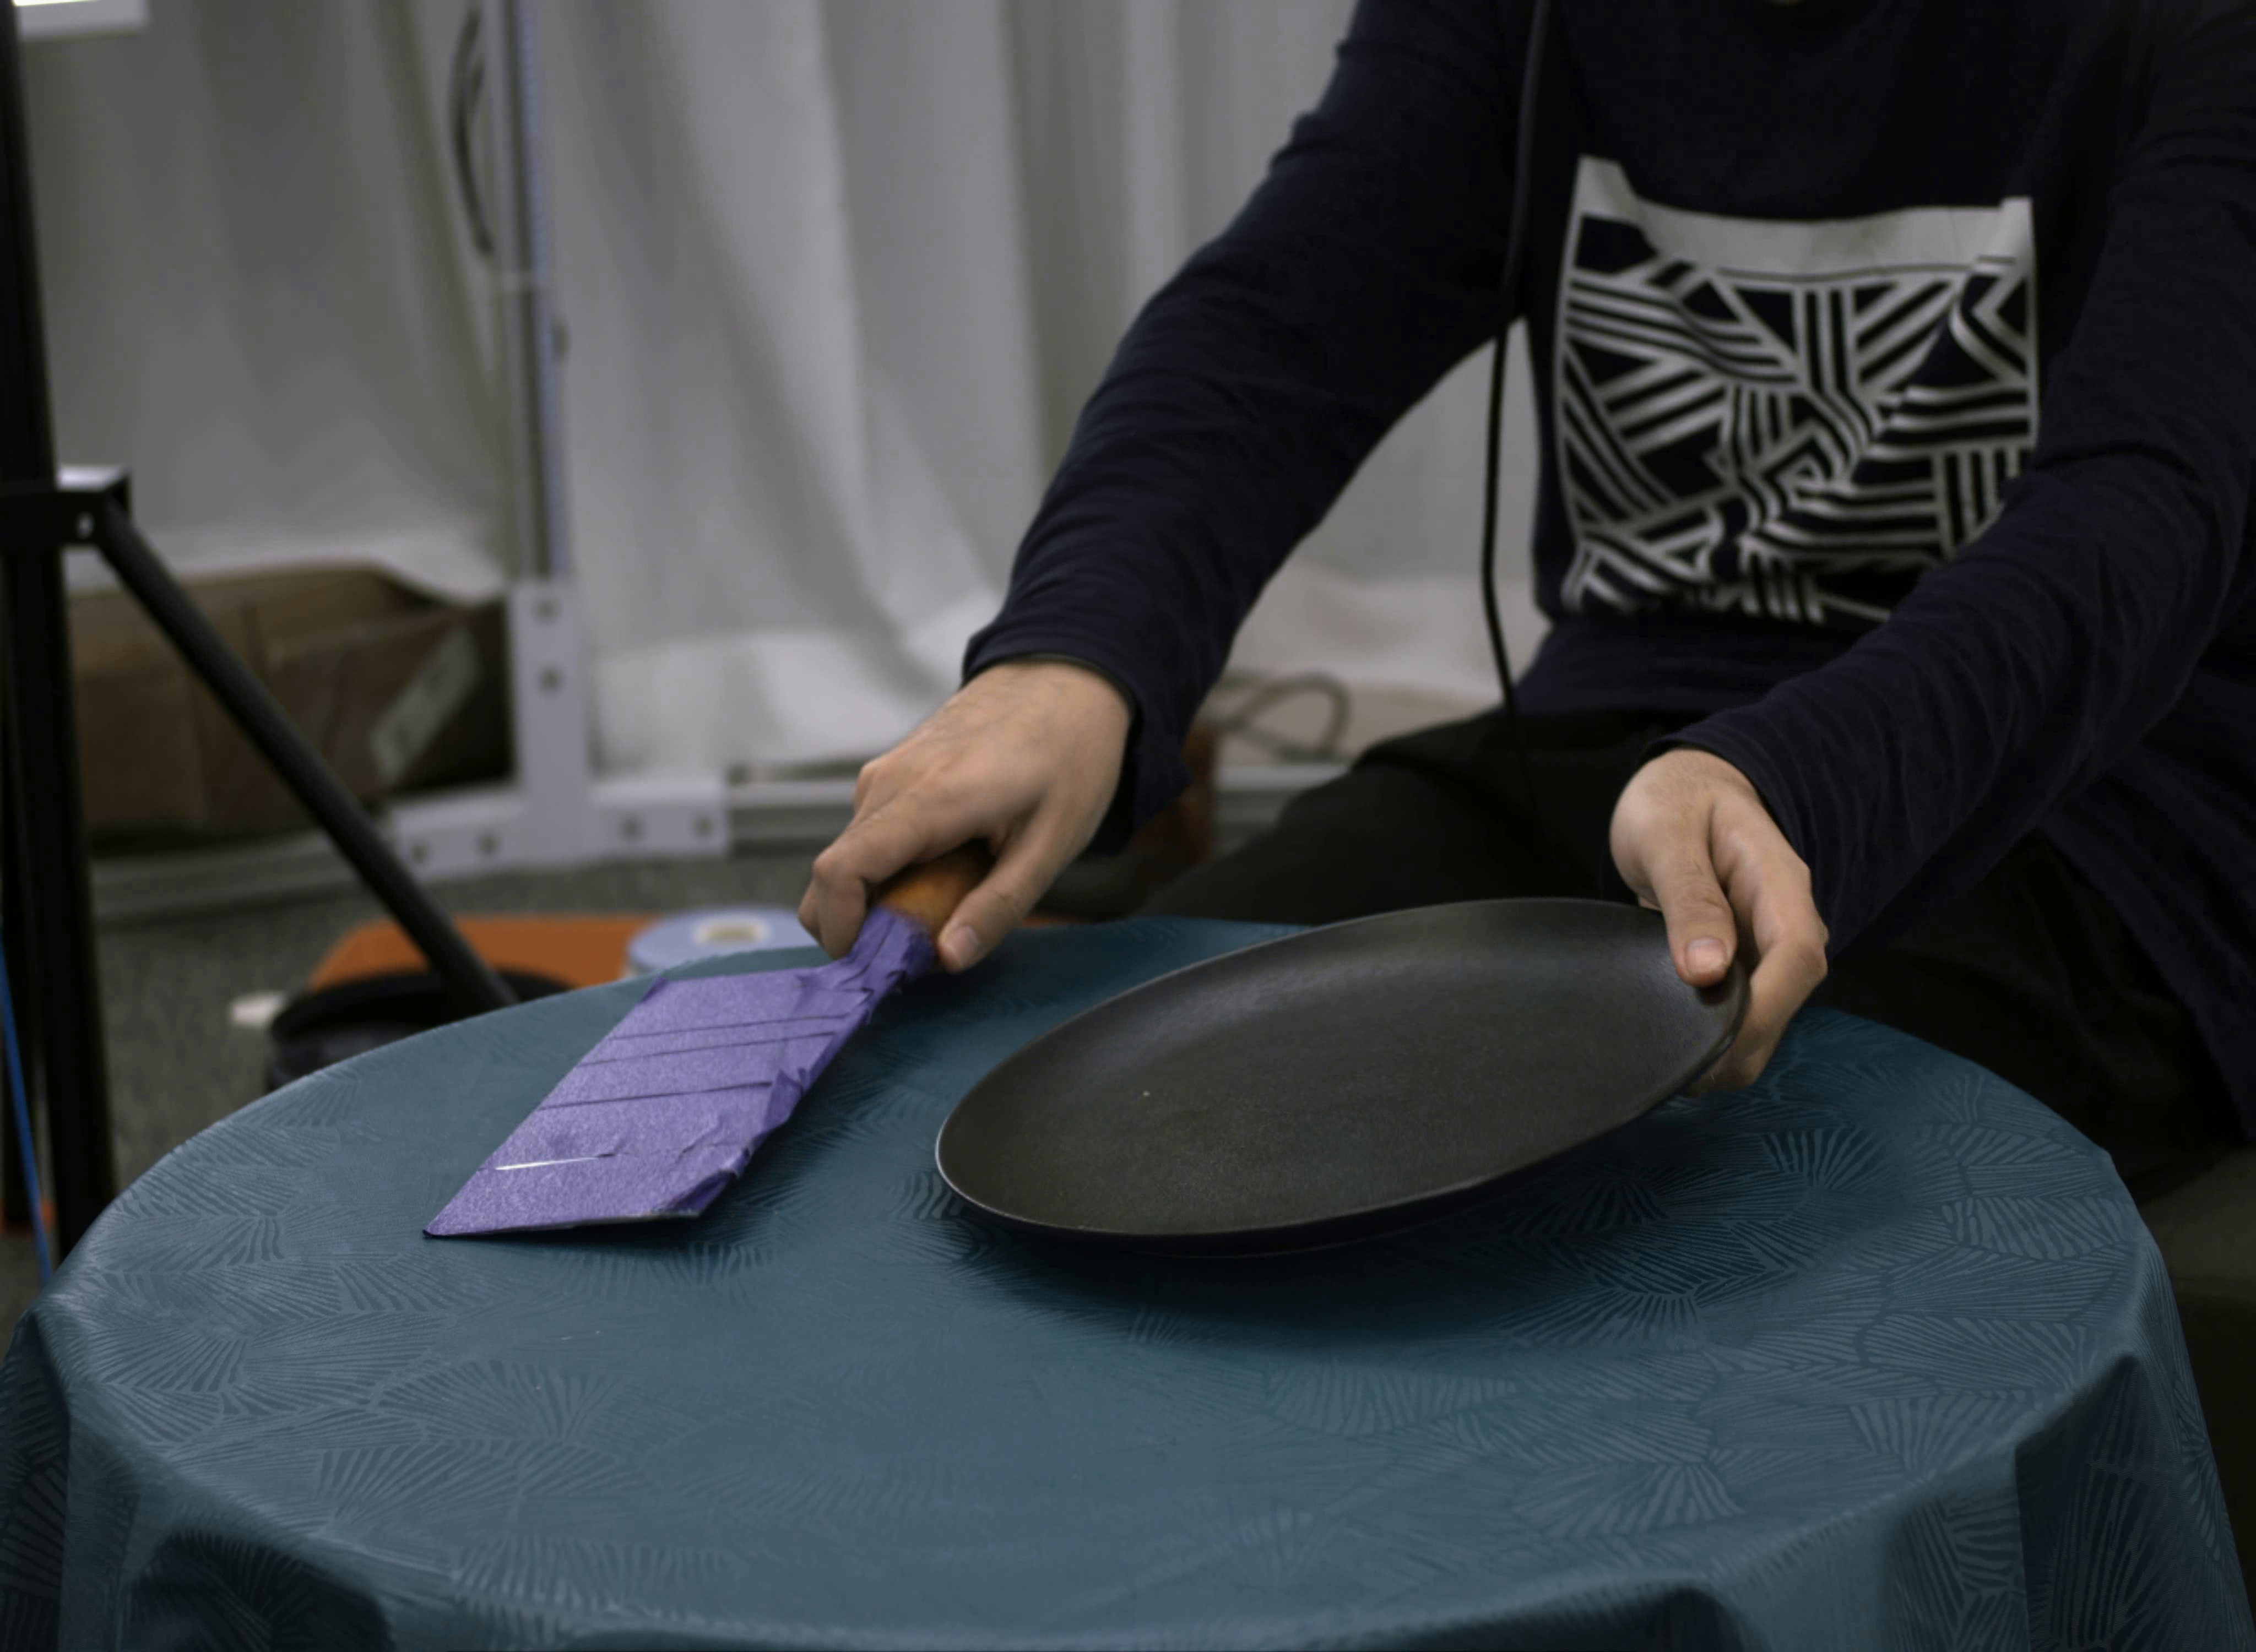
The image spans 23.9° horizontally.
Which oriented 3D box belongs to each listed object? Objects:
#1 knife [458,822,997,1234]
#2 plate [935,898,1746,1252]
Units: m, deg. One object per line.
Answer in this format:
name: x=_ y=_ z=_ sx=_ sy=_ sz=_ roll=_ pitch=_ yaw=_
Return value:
knife: x=-0.123 y=0.060 z=1.675 sx=0.105 sy=0.032 sz=0.313 roll=-4 pitch=16 yaw=17
plate: x=0.063 y=0.077 z=1.554 sx=0.244 sy=0.023 sz=0.246 roll=-14 pitch=17 yaw=3
